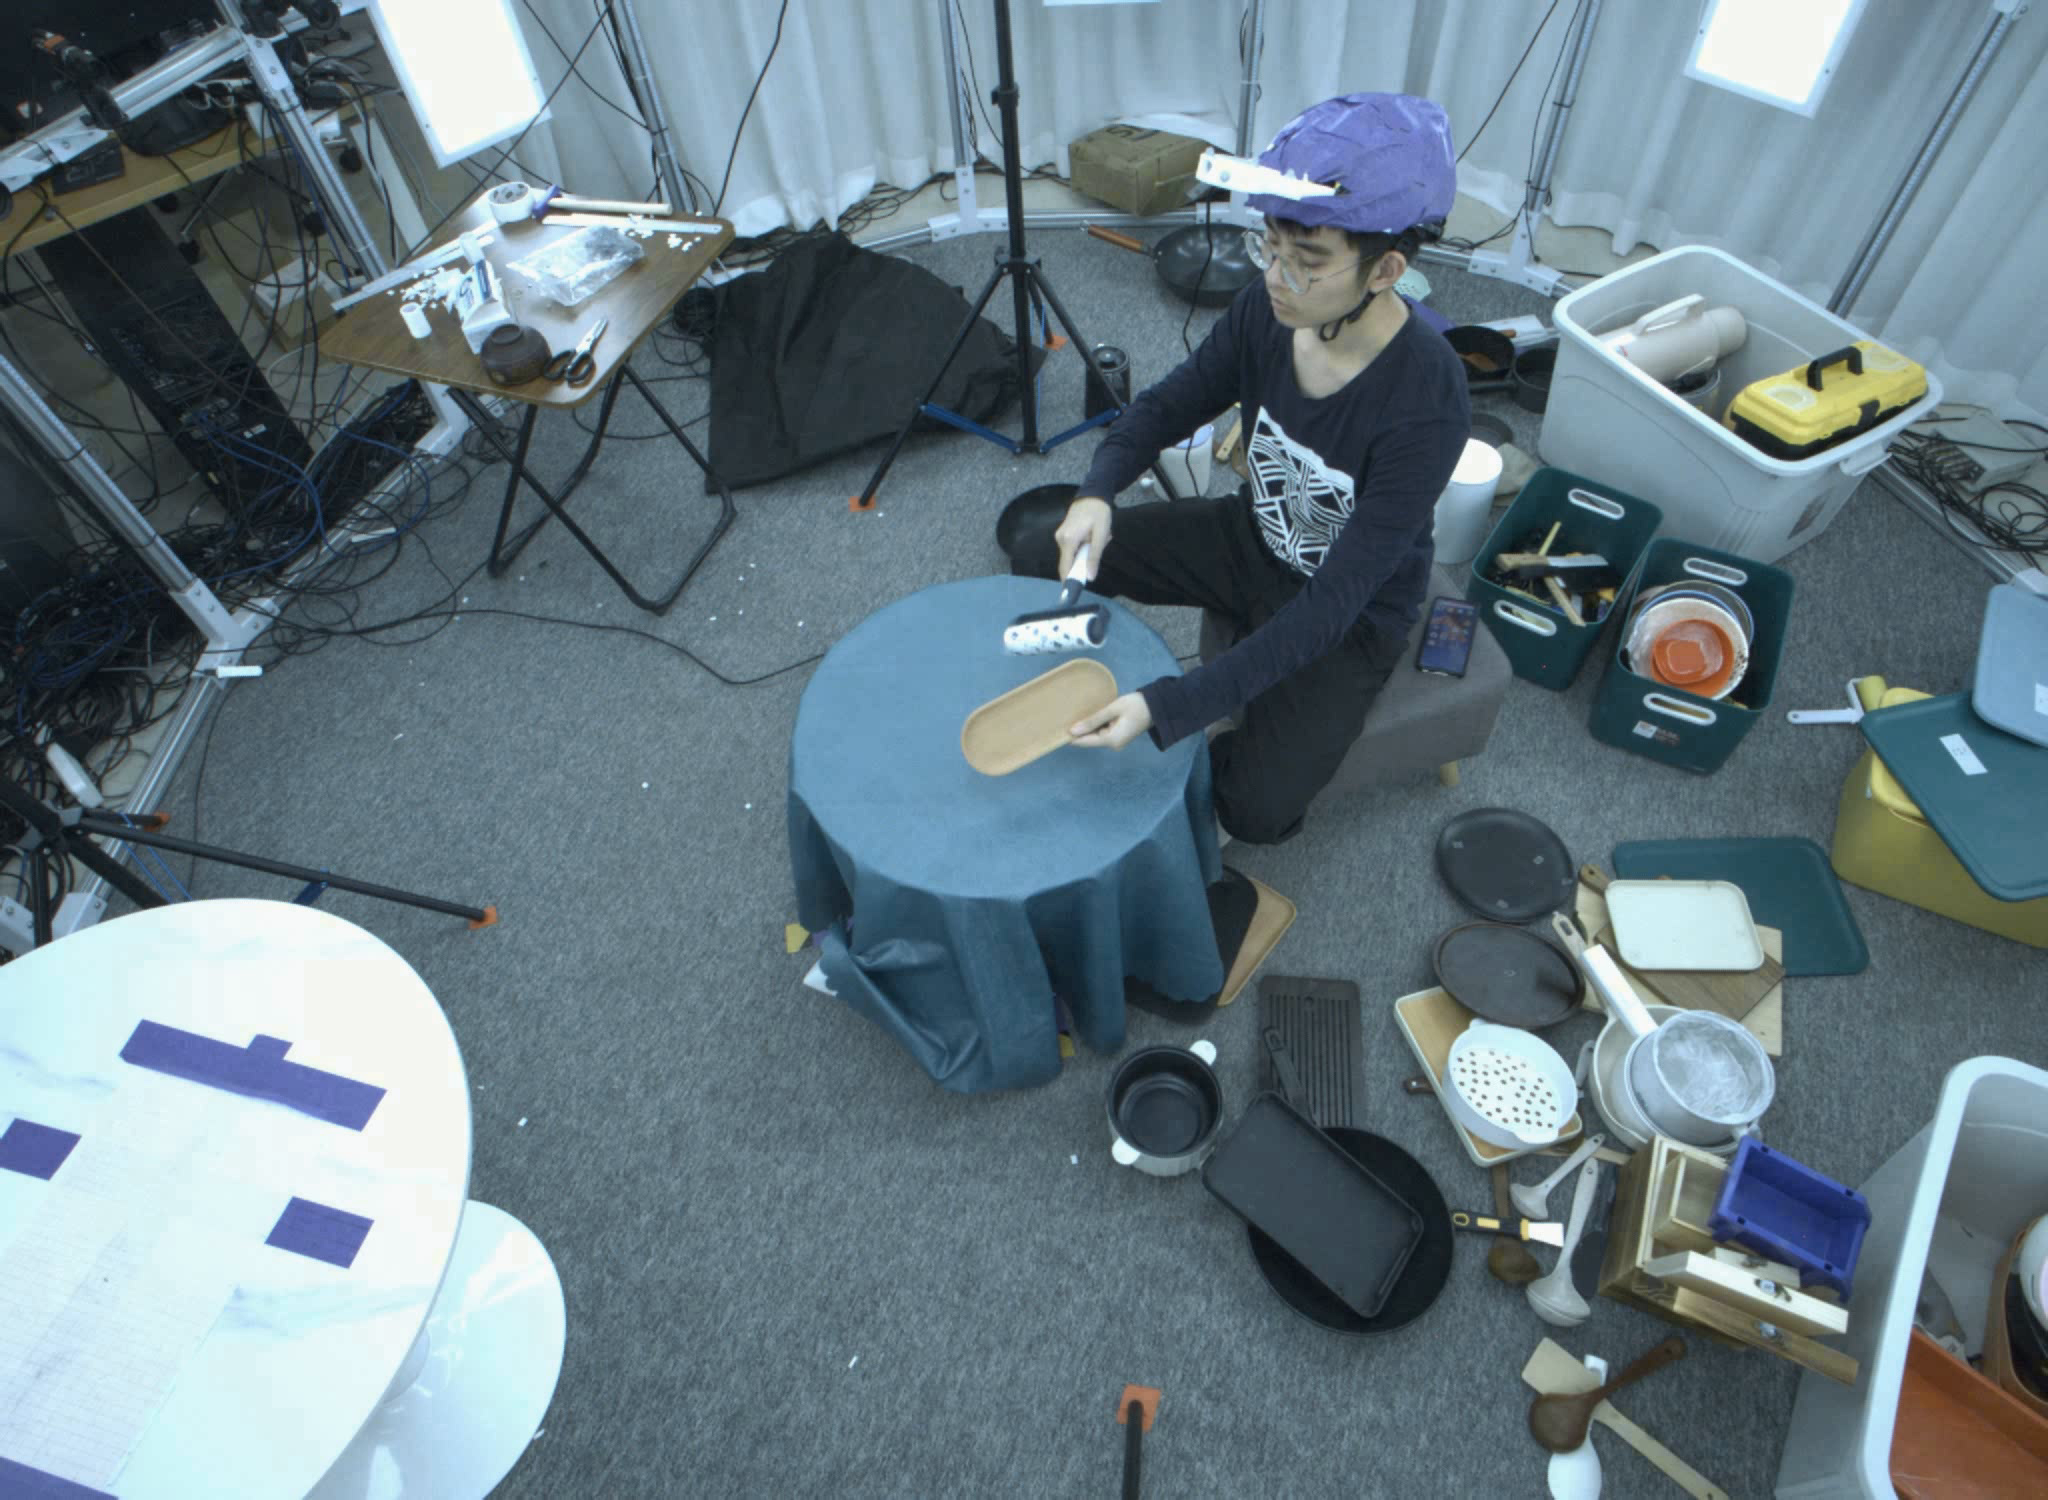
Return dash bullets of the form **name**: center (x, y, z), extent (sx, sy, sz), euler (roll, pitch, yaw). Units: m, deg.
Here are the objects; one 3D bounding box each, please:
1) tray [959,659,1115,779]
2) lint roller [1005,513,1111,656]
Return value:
- **tray**: center (0.018, -0.043, 1.673), extent (0.232, 0.103, 0.020), euler (-29, 20, -8)
- **lint roller**: center (0.075, -0.251, 1.795), extent (0.172, 0.051, 0.246), euler (-3, 59, 43)
